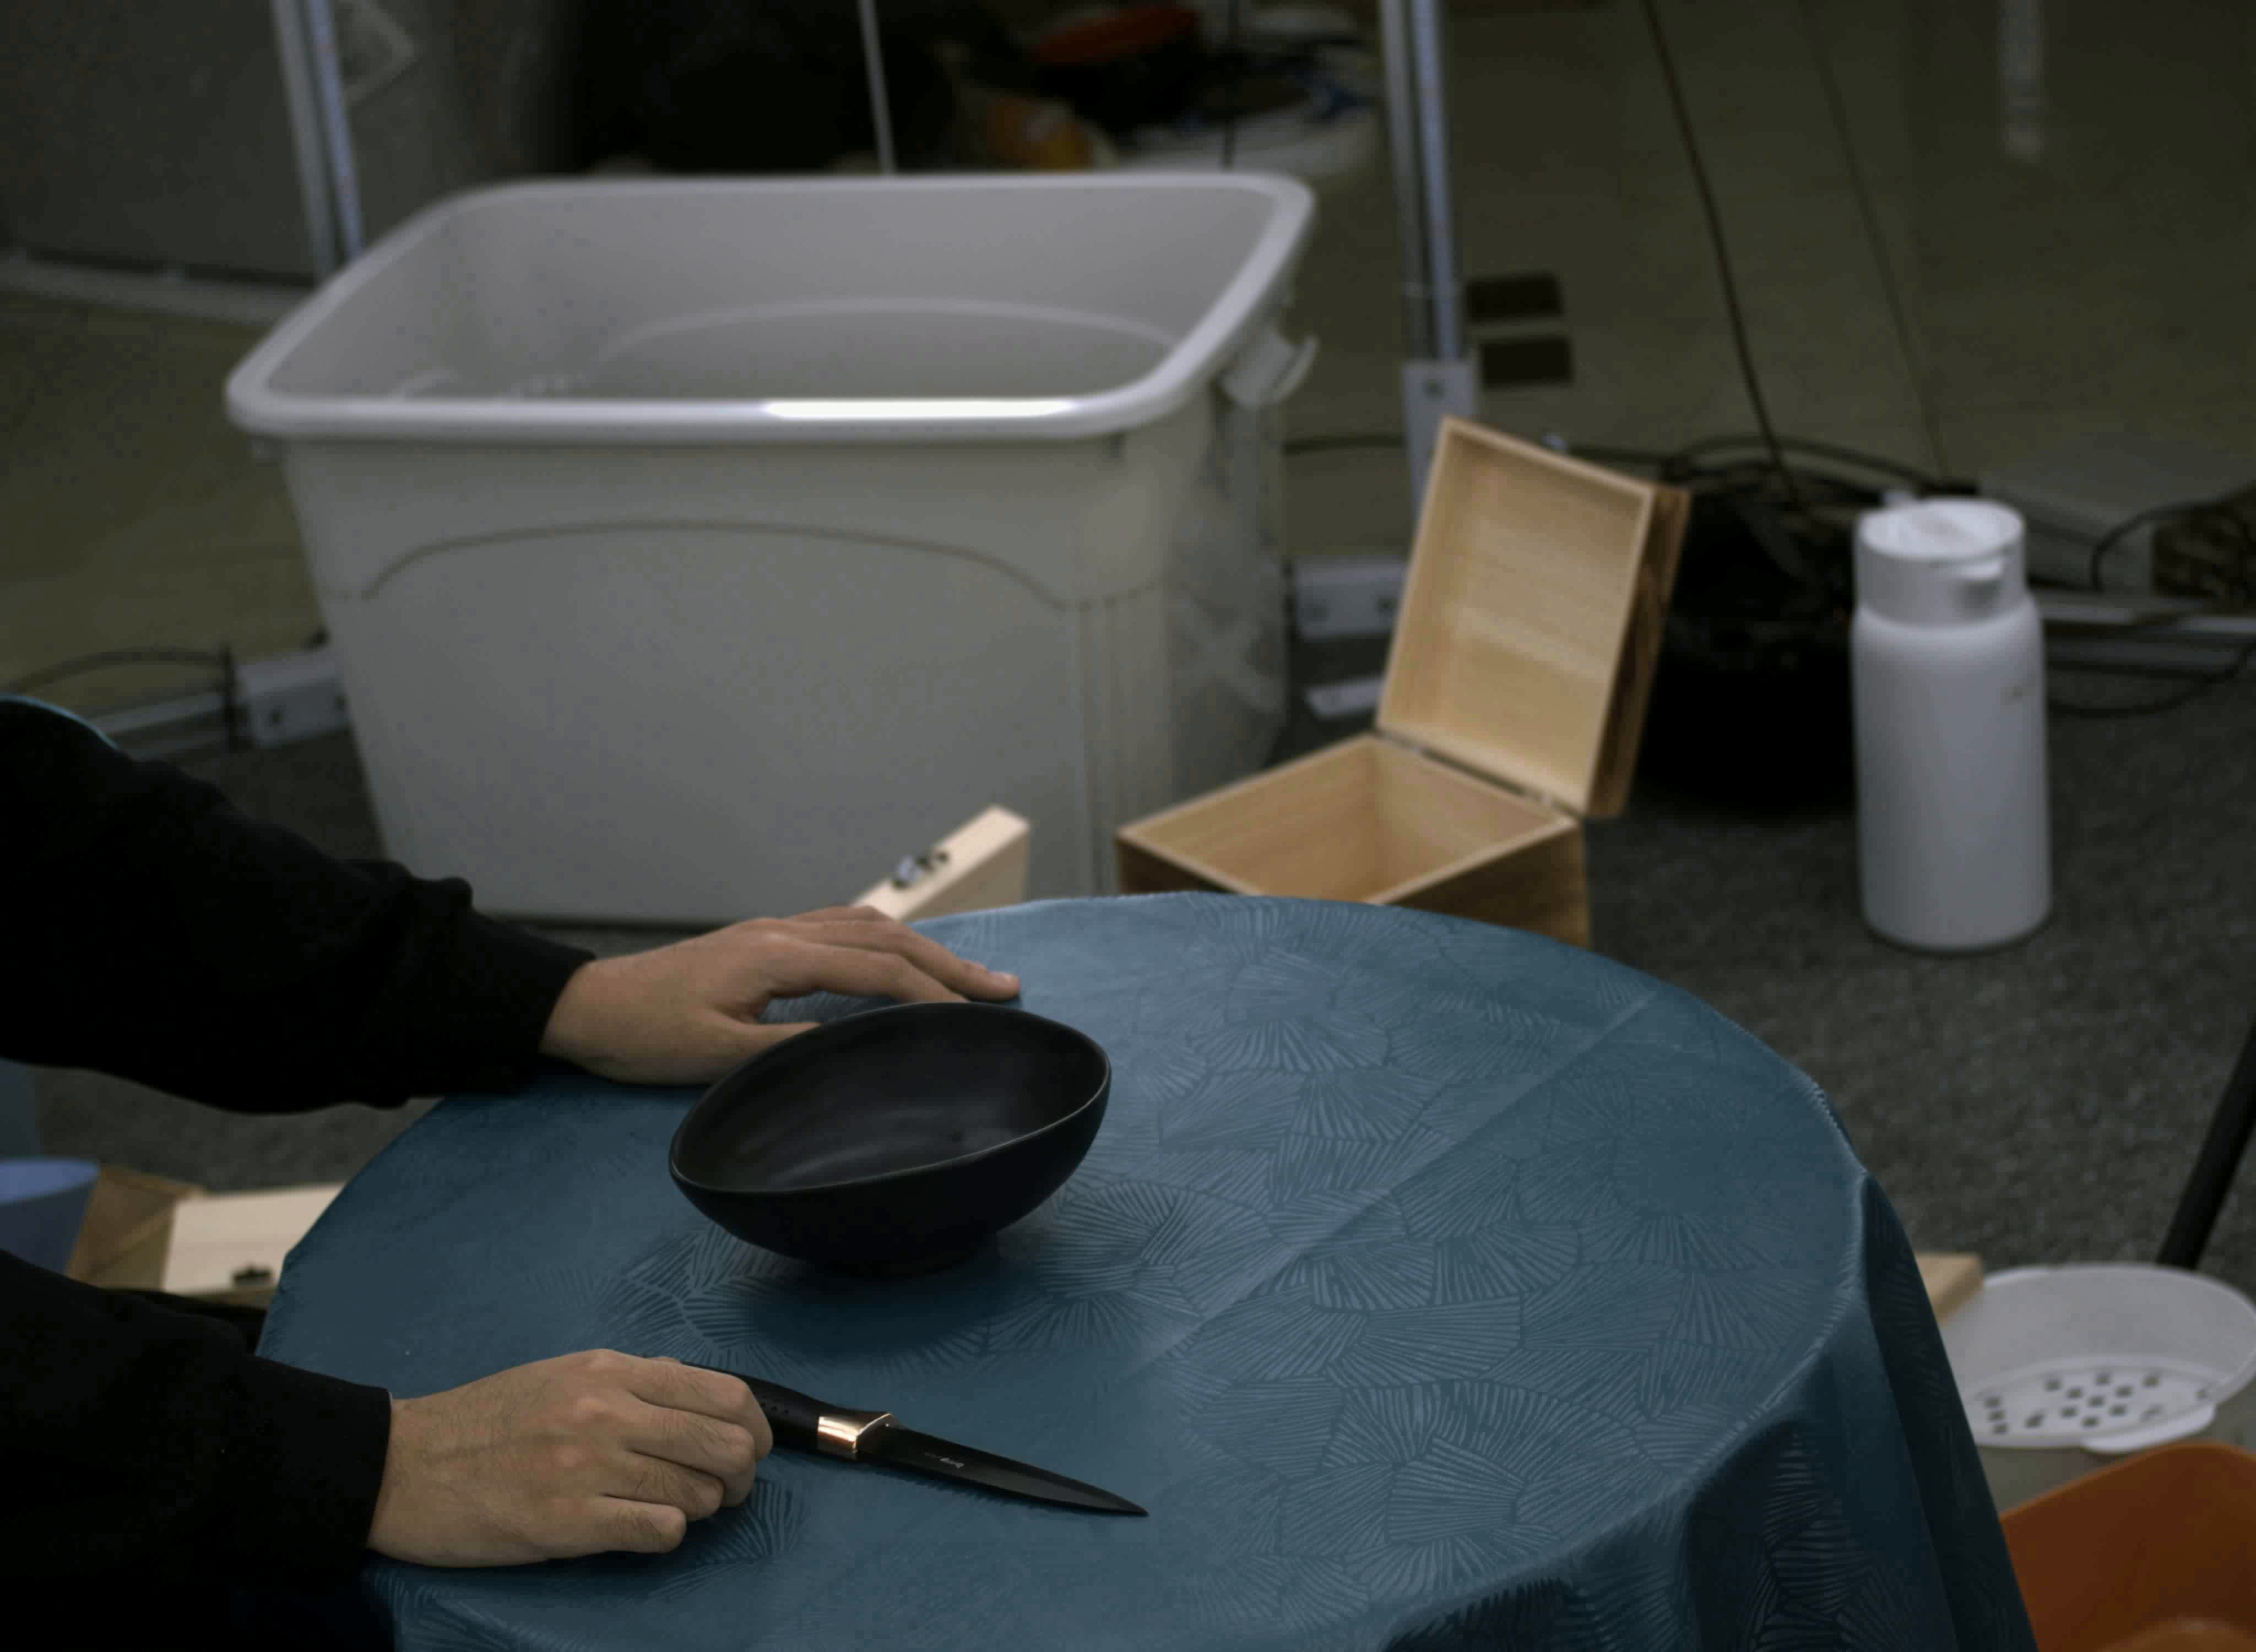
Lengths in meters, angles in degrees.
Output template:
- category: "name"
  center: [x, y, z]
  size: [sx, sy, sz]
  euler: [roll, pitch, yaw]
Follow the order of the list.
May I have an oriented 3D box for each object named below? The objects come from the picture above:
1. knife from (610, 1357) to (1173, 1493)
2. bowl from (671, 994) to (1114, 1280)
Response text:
- category: "knife"
  center: [-0.085, 0.213, 1.995]
  size: [0.224, 0.017, 0.026]
  euler: [9, 33, 28]
- category: "bowl"
  center: [-0.084, 0.126, 2.119]
  size: [0.170, 0.068, 0.135]
  euler: [-15, 26, -11]
